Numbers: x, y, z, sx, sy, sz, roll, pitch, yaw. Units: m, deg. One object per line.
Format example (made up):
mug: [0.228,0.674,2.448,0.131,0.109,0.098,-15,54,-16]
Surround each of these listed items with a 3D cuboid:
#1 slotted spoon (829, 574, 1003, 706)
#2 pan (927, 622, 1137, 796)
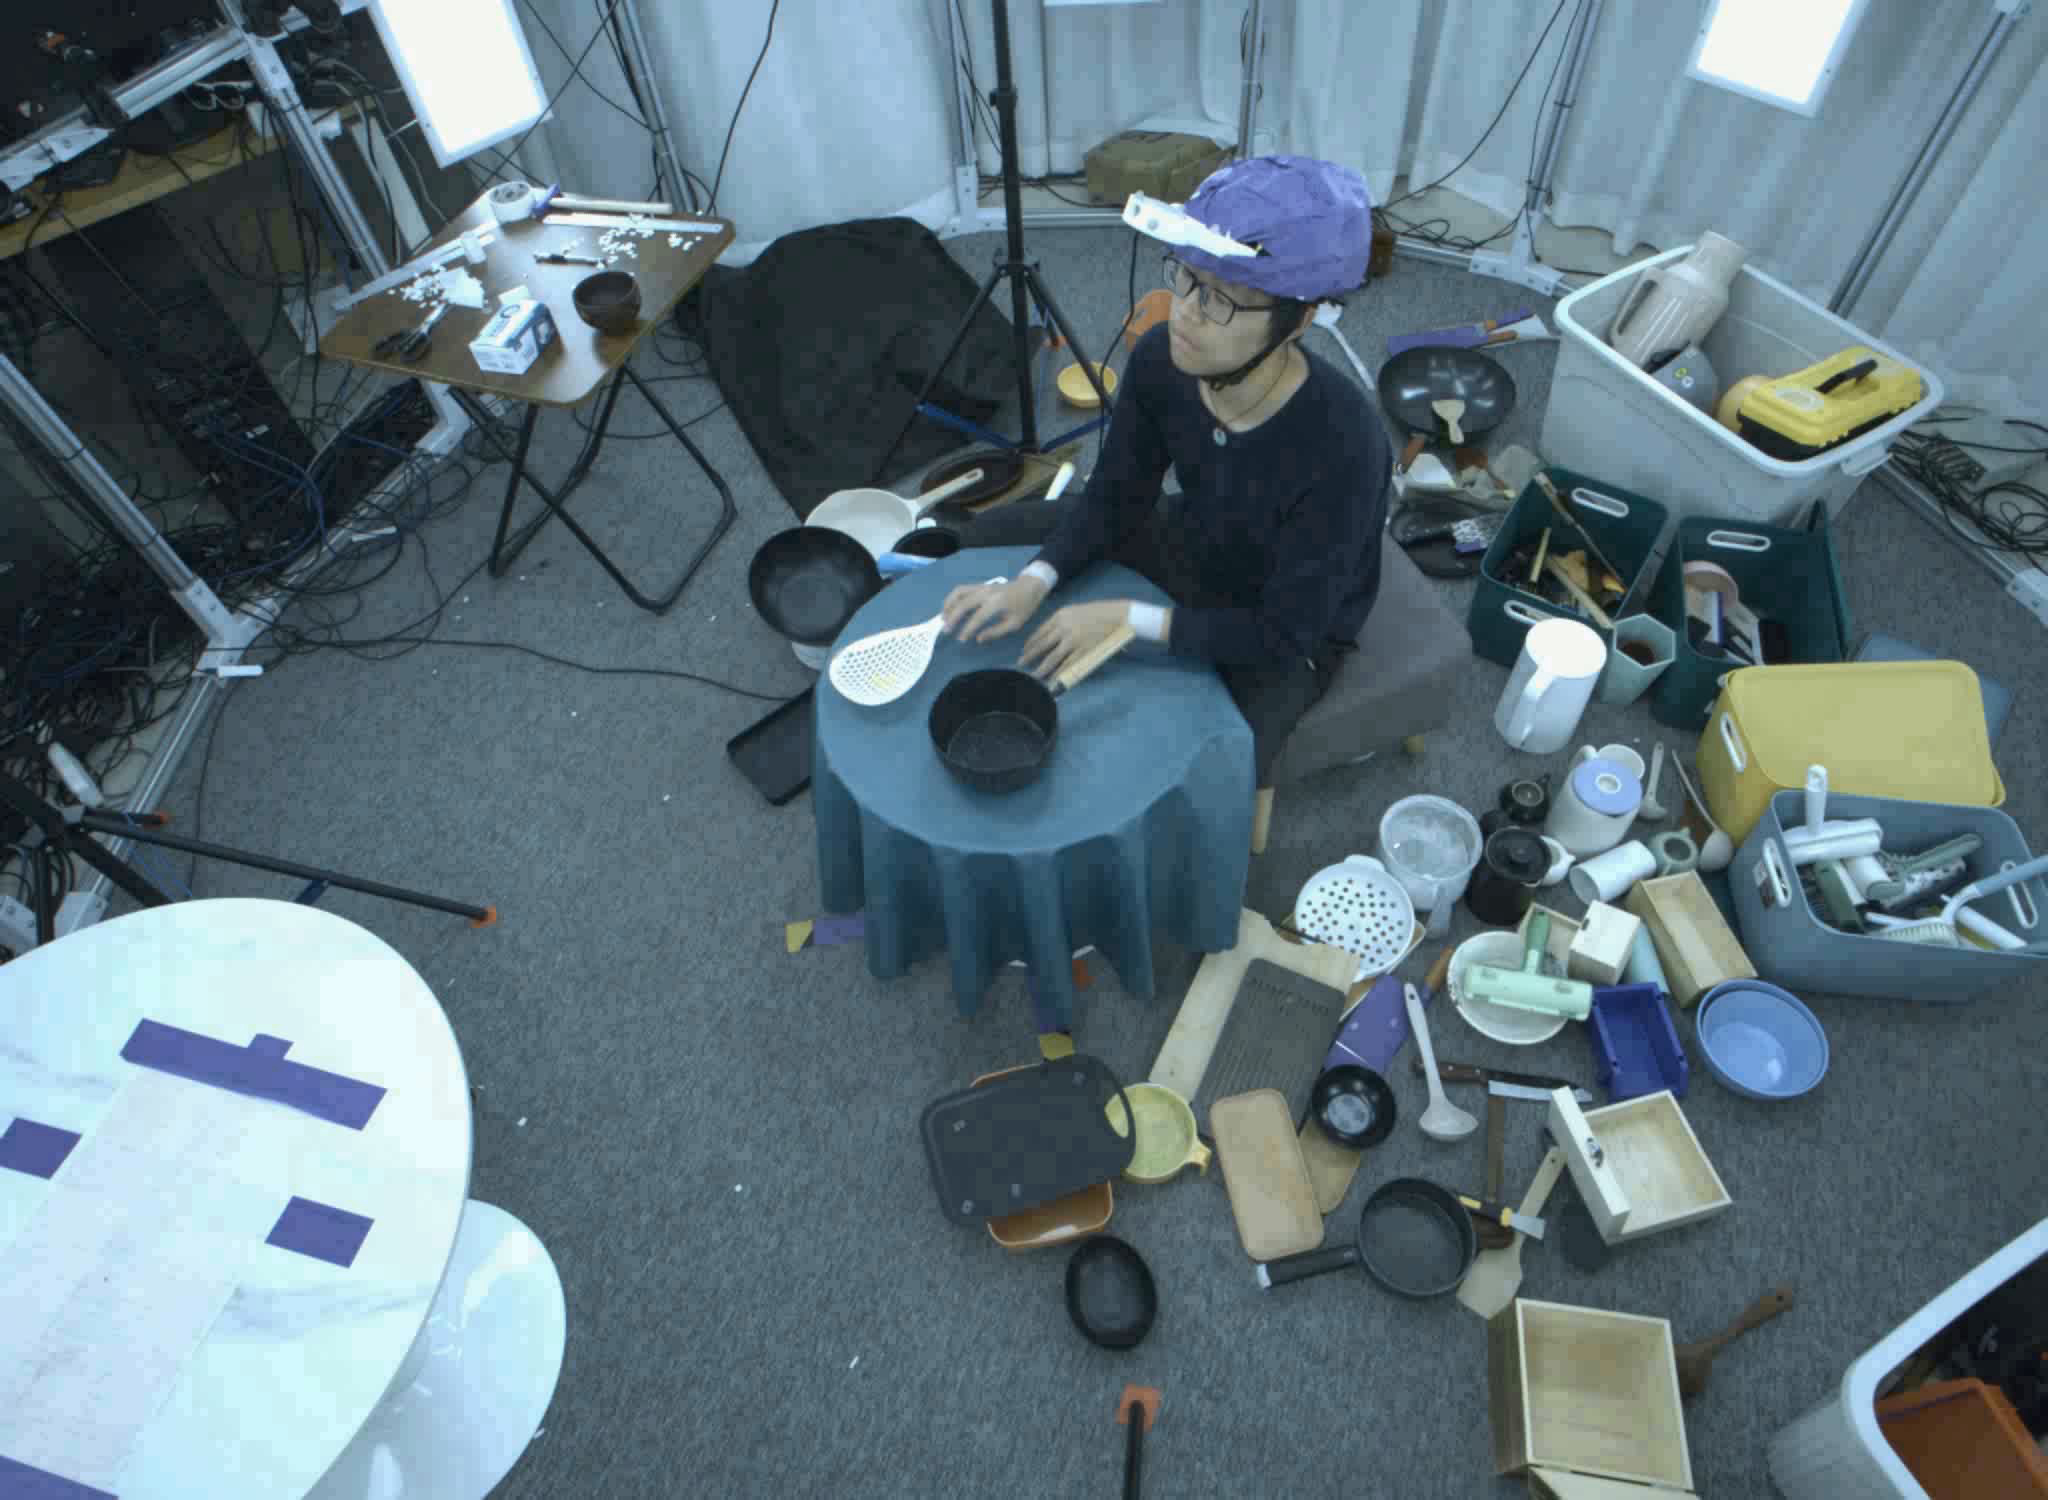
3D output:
slotted spoon: [-0.149,-0.180,1.893,0.134,0.051,0.350,34,64,25]
pan: [0.022,-0.068,1.768,0.345,0.109,0.203,-33,59,-18]
